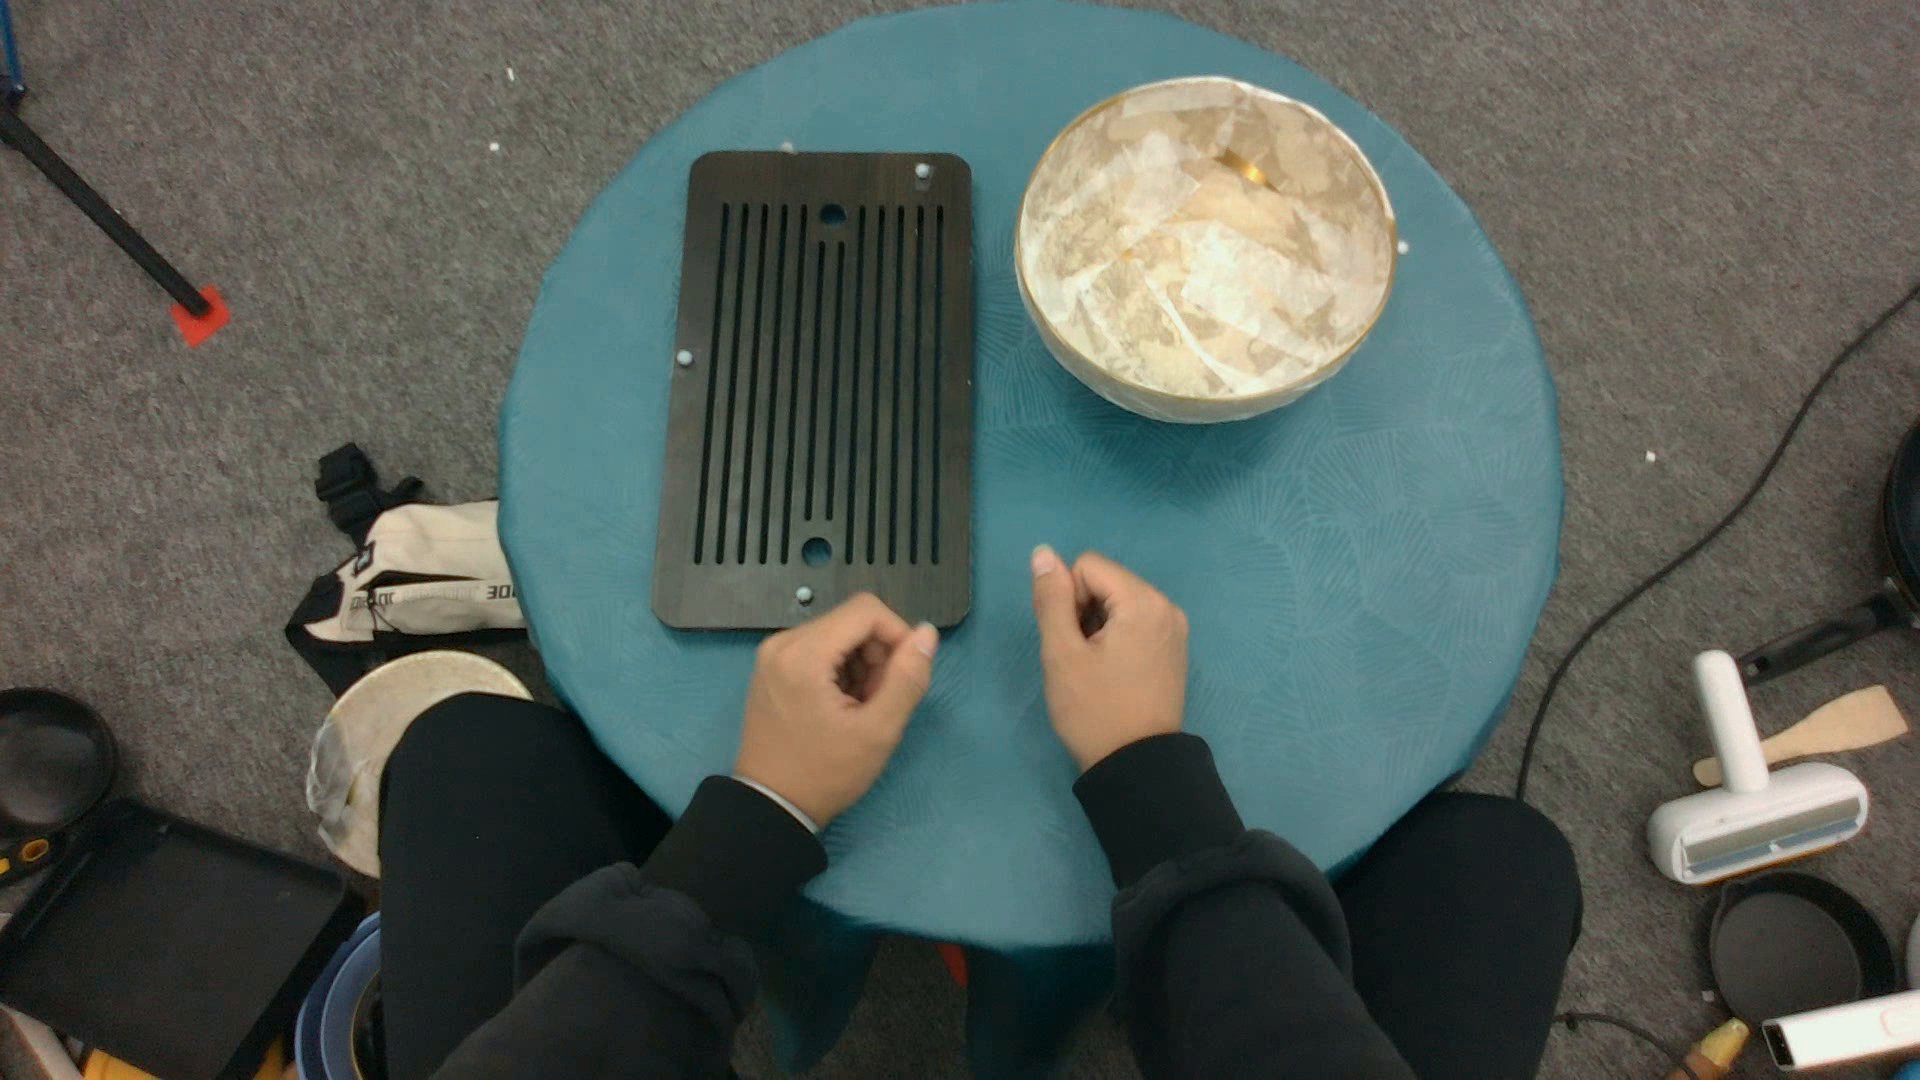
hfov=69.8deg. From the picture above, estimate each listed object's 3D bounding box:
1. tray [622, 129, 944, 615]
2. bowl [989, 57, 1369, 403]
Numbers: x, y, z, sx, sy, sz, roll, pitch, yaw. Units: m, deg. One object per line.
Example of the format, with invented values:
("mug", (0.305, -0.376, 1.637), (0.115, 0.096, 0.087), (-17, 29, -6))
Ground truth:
("tray", (-0.094, -0.103, 0.780), (0.170, 0.018, 0.307), (0, 69, -1))
("bowl", (0.112, -0.156, 0.766), (0.215, 0.094, 0.215), (1, 69, -2))
